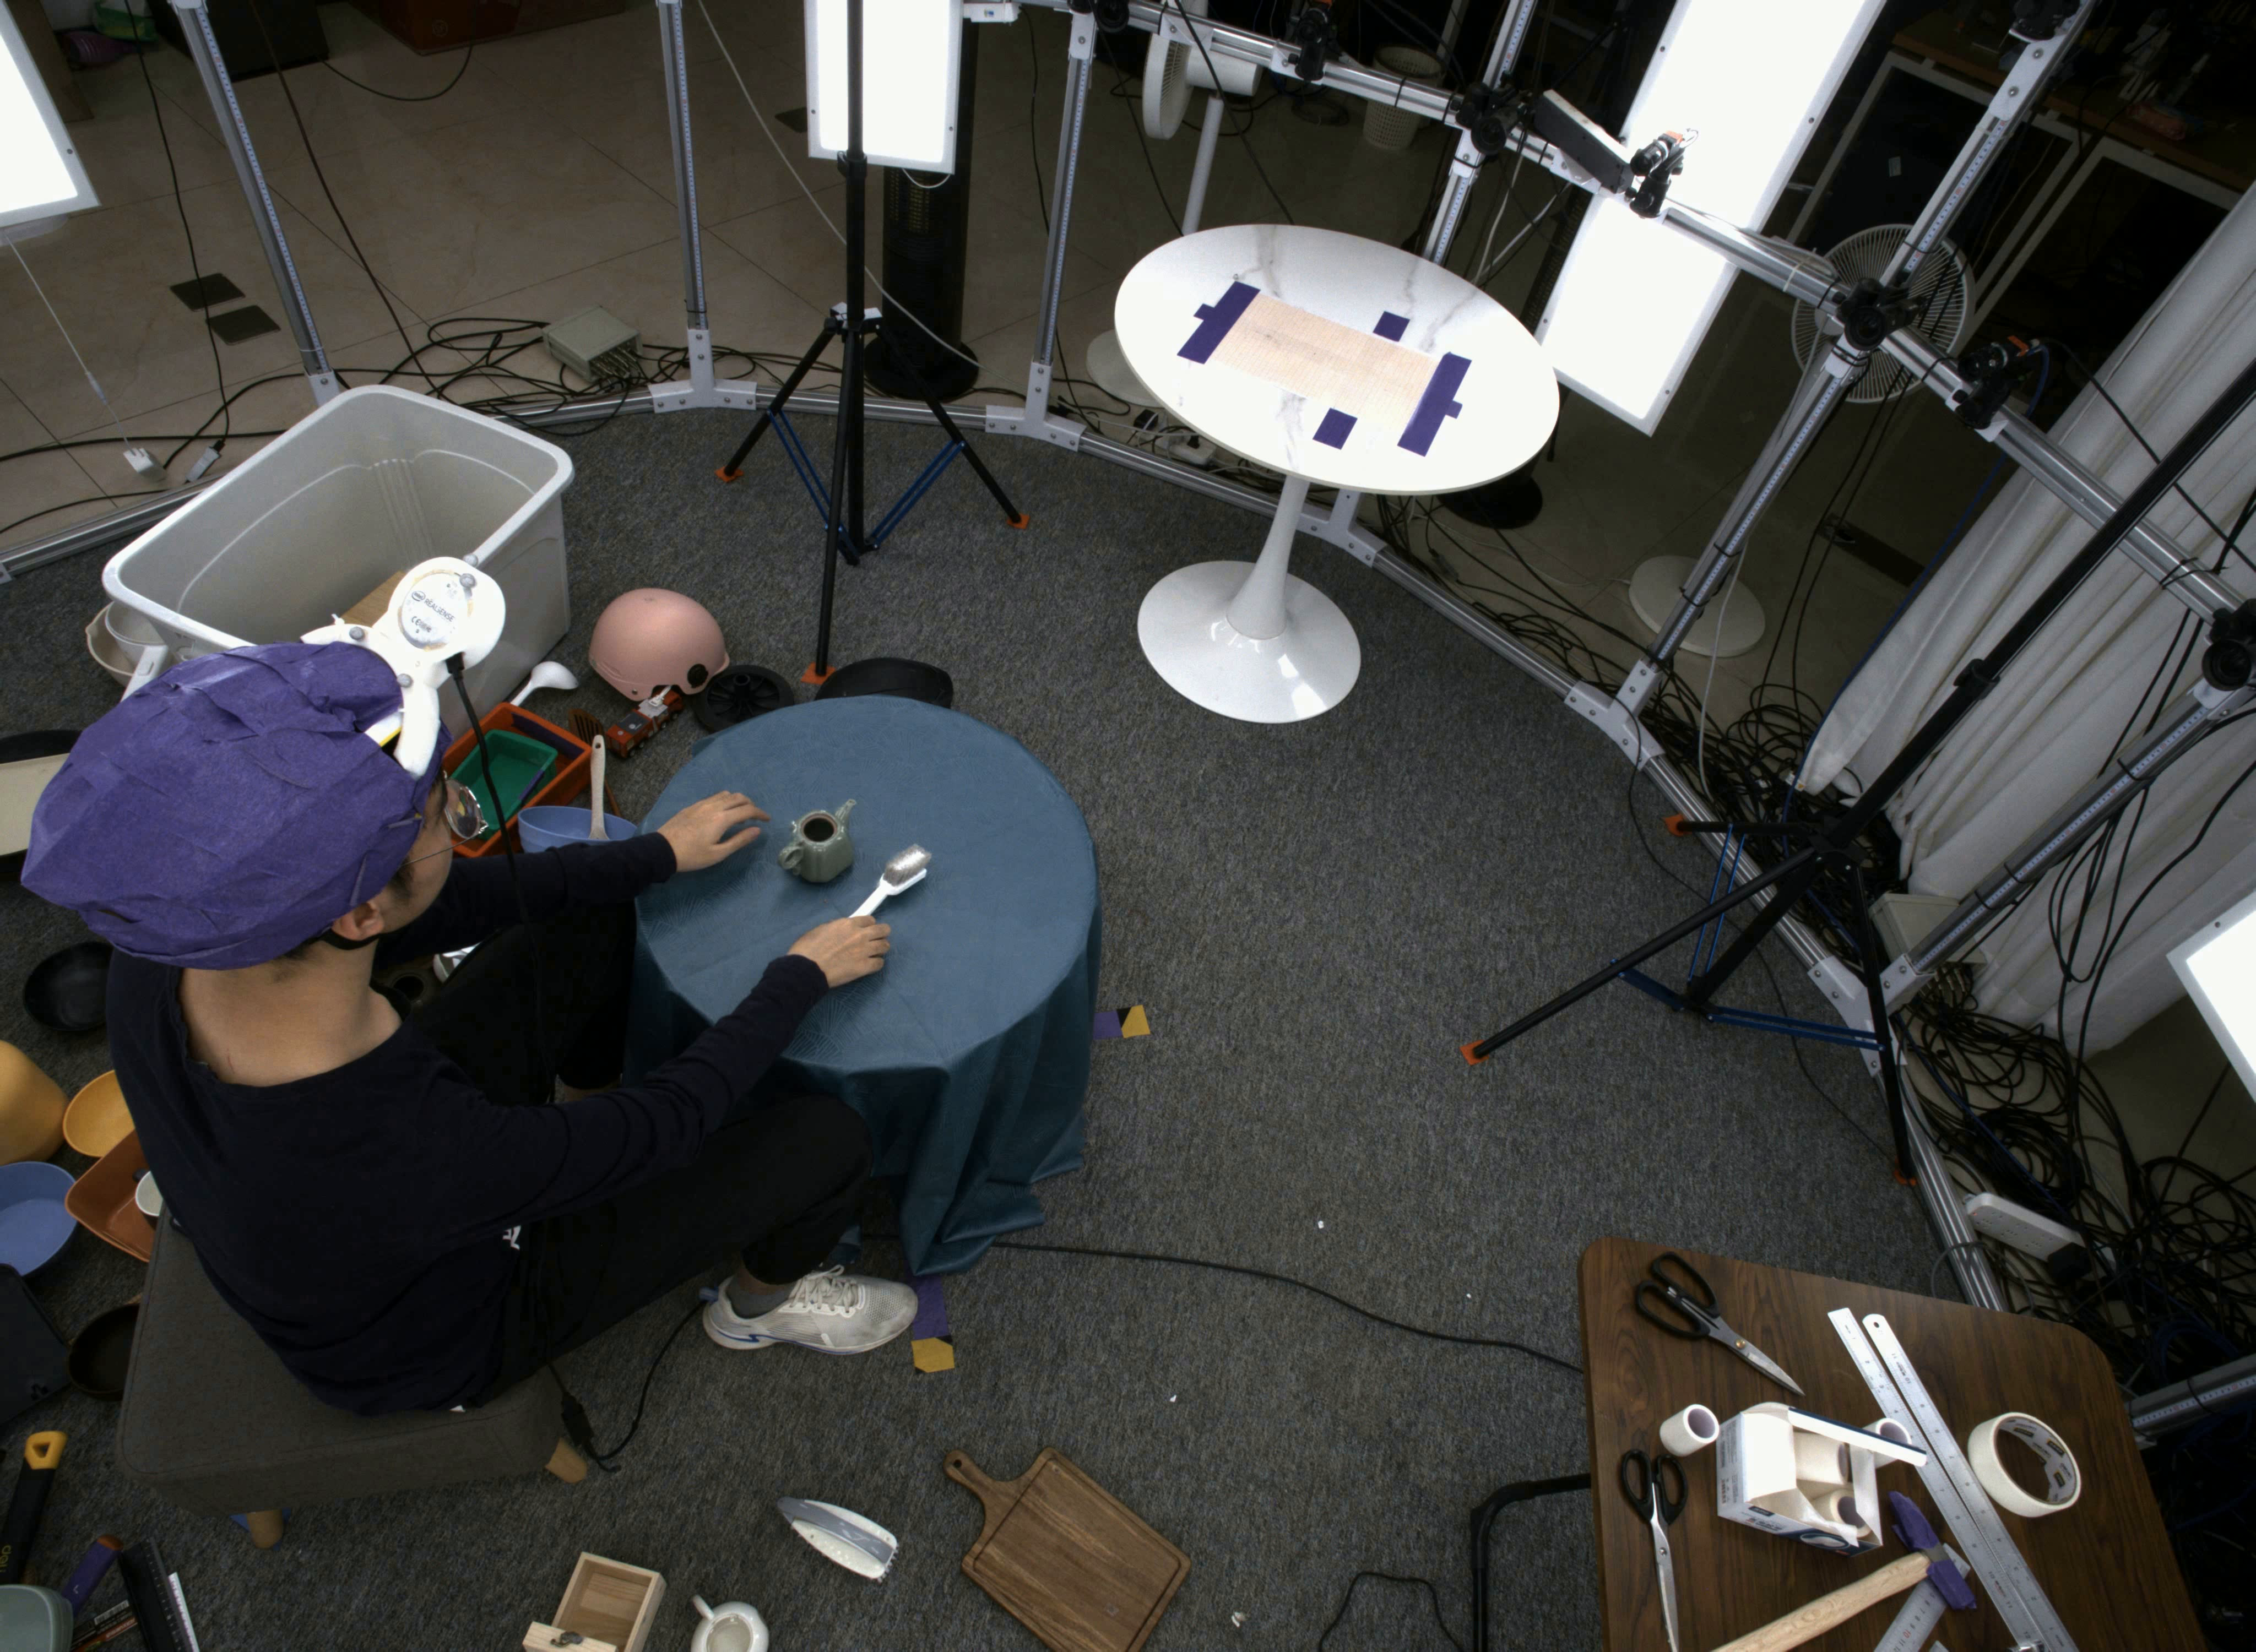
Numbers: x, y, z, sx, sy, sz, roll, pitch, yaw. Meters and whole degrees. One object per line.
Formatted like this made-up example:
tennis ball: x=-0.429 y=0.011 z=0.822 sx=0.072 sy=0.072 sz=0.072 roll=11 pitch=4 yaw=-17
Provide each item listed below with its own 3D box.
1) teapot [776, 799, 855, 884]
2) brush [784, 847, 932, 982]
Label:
teapot: x=-0.399 y=0.022 z=1.668 sx=0.078 sy=0.077 sz=0.132 roll=35 pitch=54 yaw=15
brush: x=-0.340 y=0.105 z=1.638 sx=0.034 sy=0.051 sz=0.244 roll=39 pitch=55 yaw=13
